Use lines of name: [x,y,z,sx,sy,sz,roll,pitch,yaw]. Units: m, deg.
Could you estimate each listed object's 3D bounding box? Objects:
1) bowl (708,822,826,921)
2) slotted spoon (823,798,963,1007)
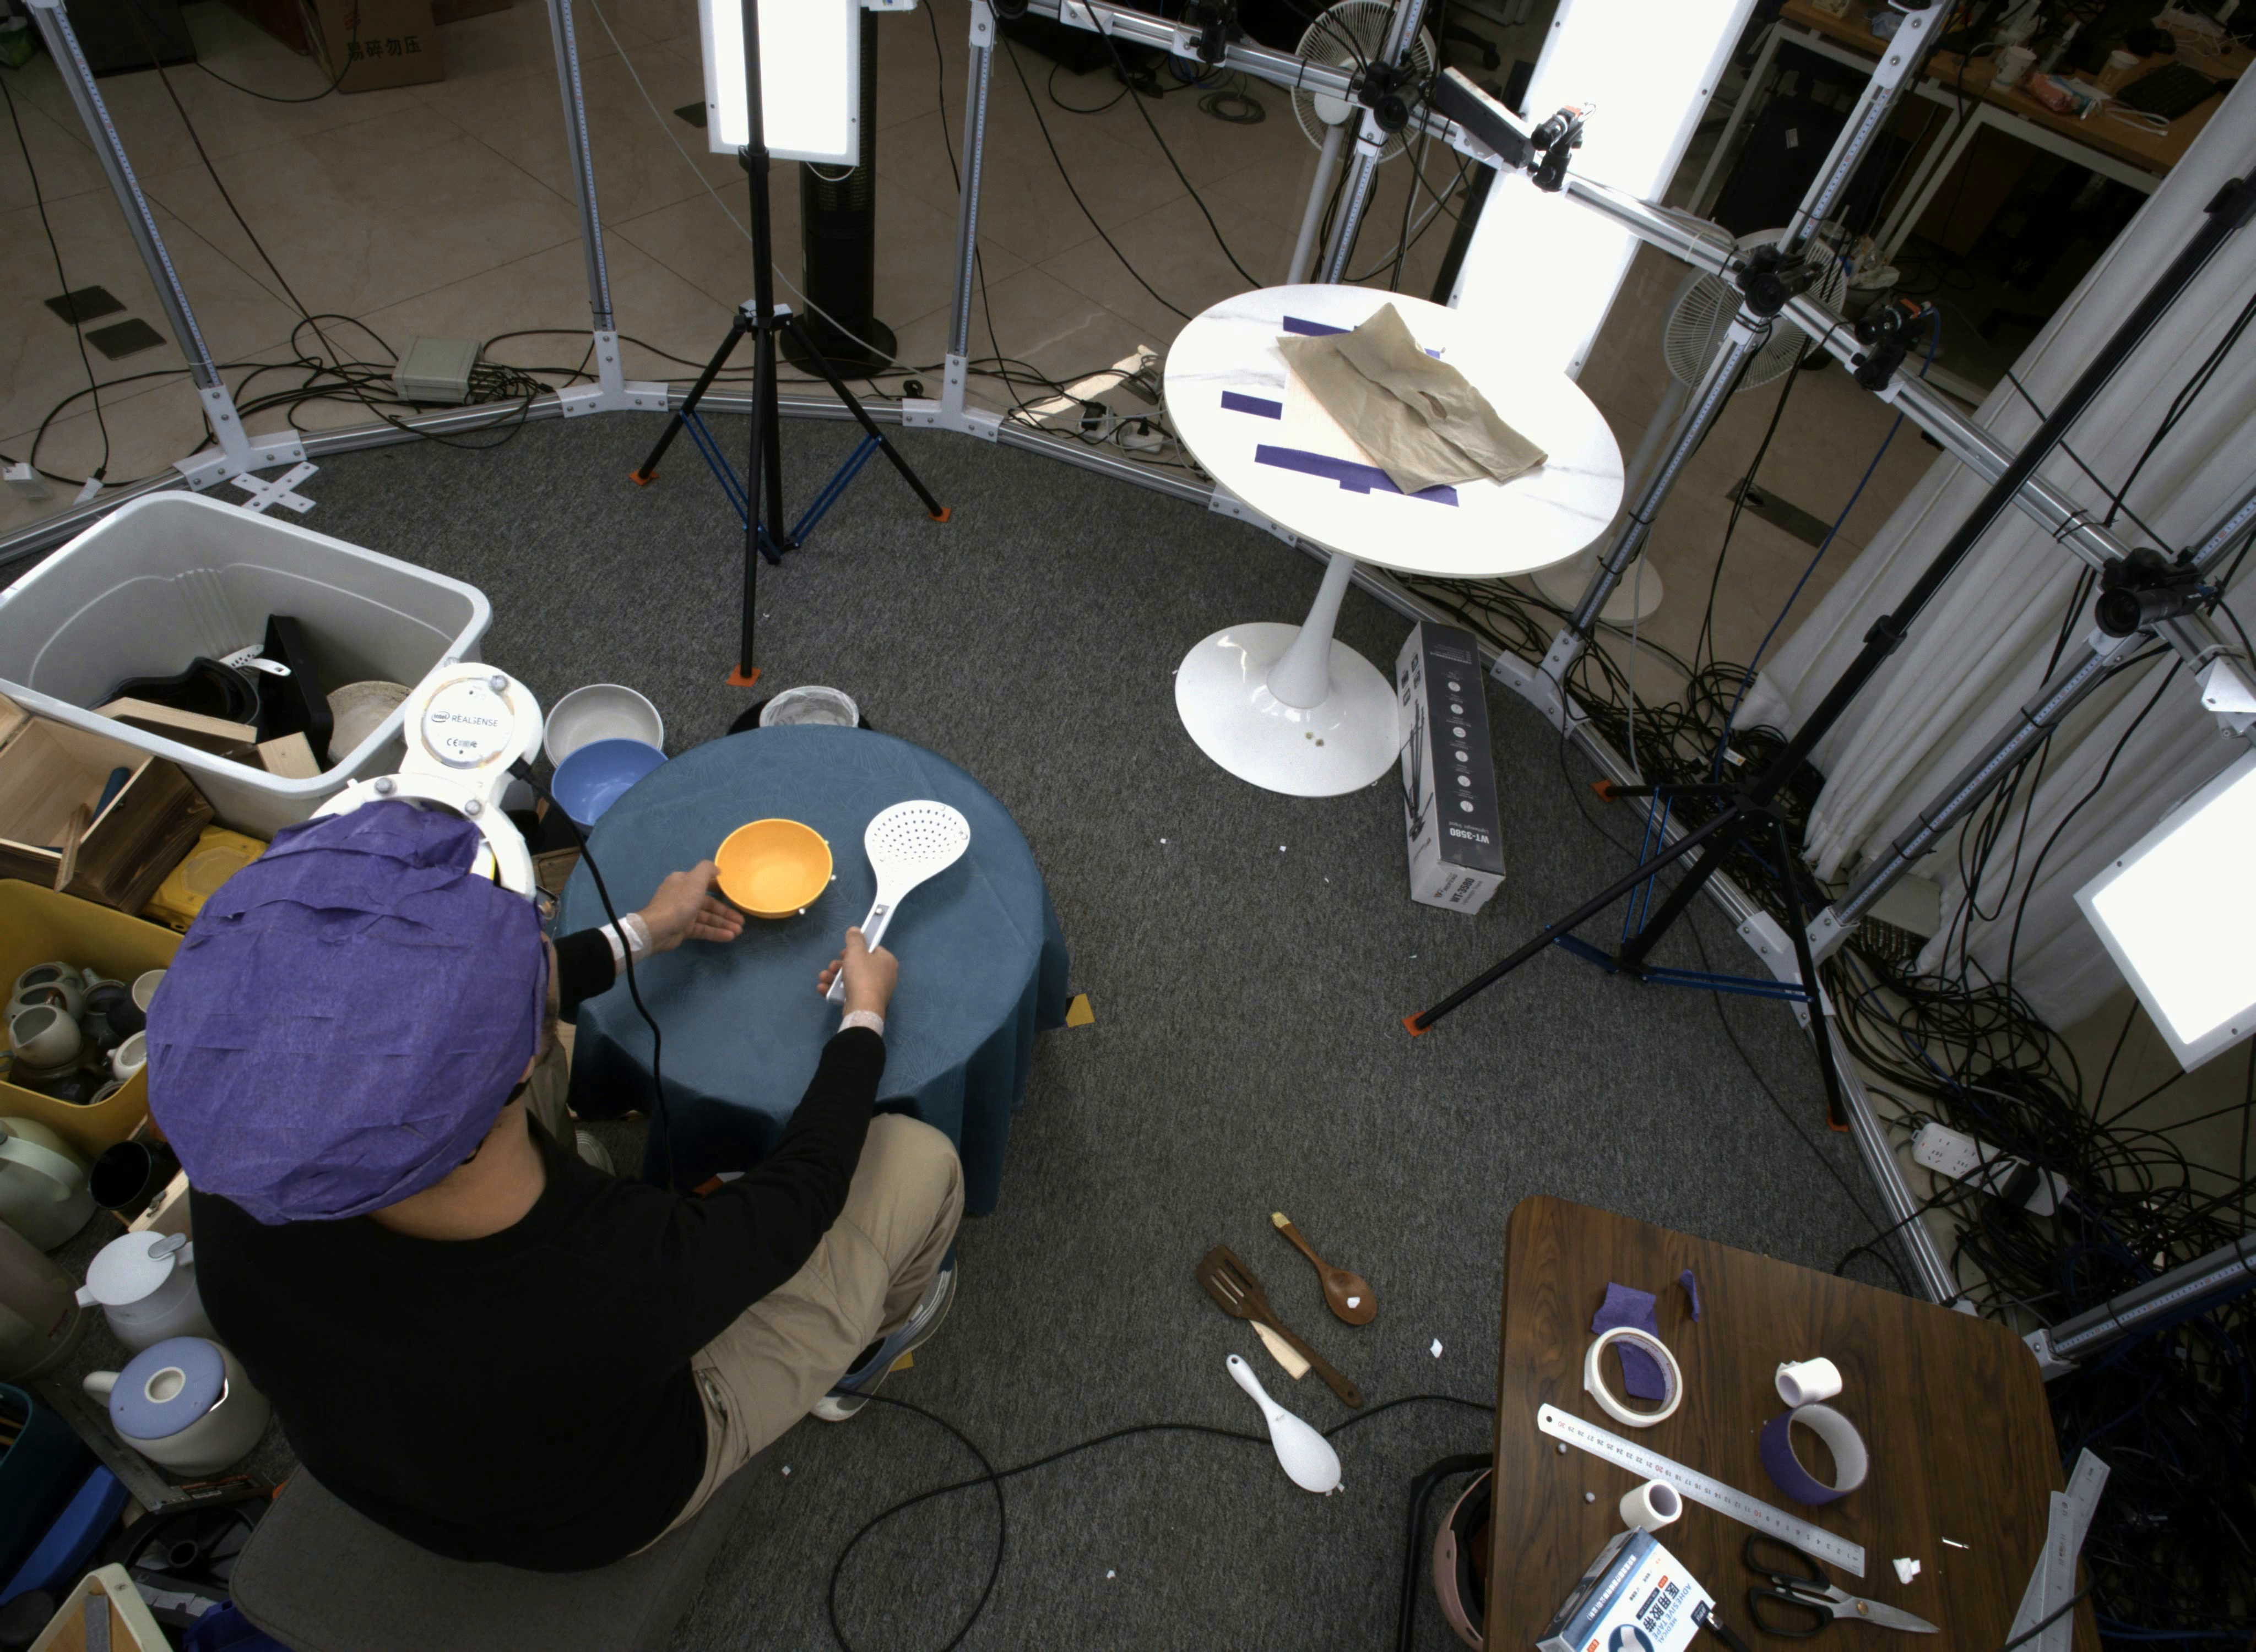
bowl: [-0.451,0.067,1.625,0.145,0.061,0.142,7,51,-7]
slotted spoon: [-0.305,0.087,1.626,0.134,0.047,0.345,10,40,6]
